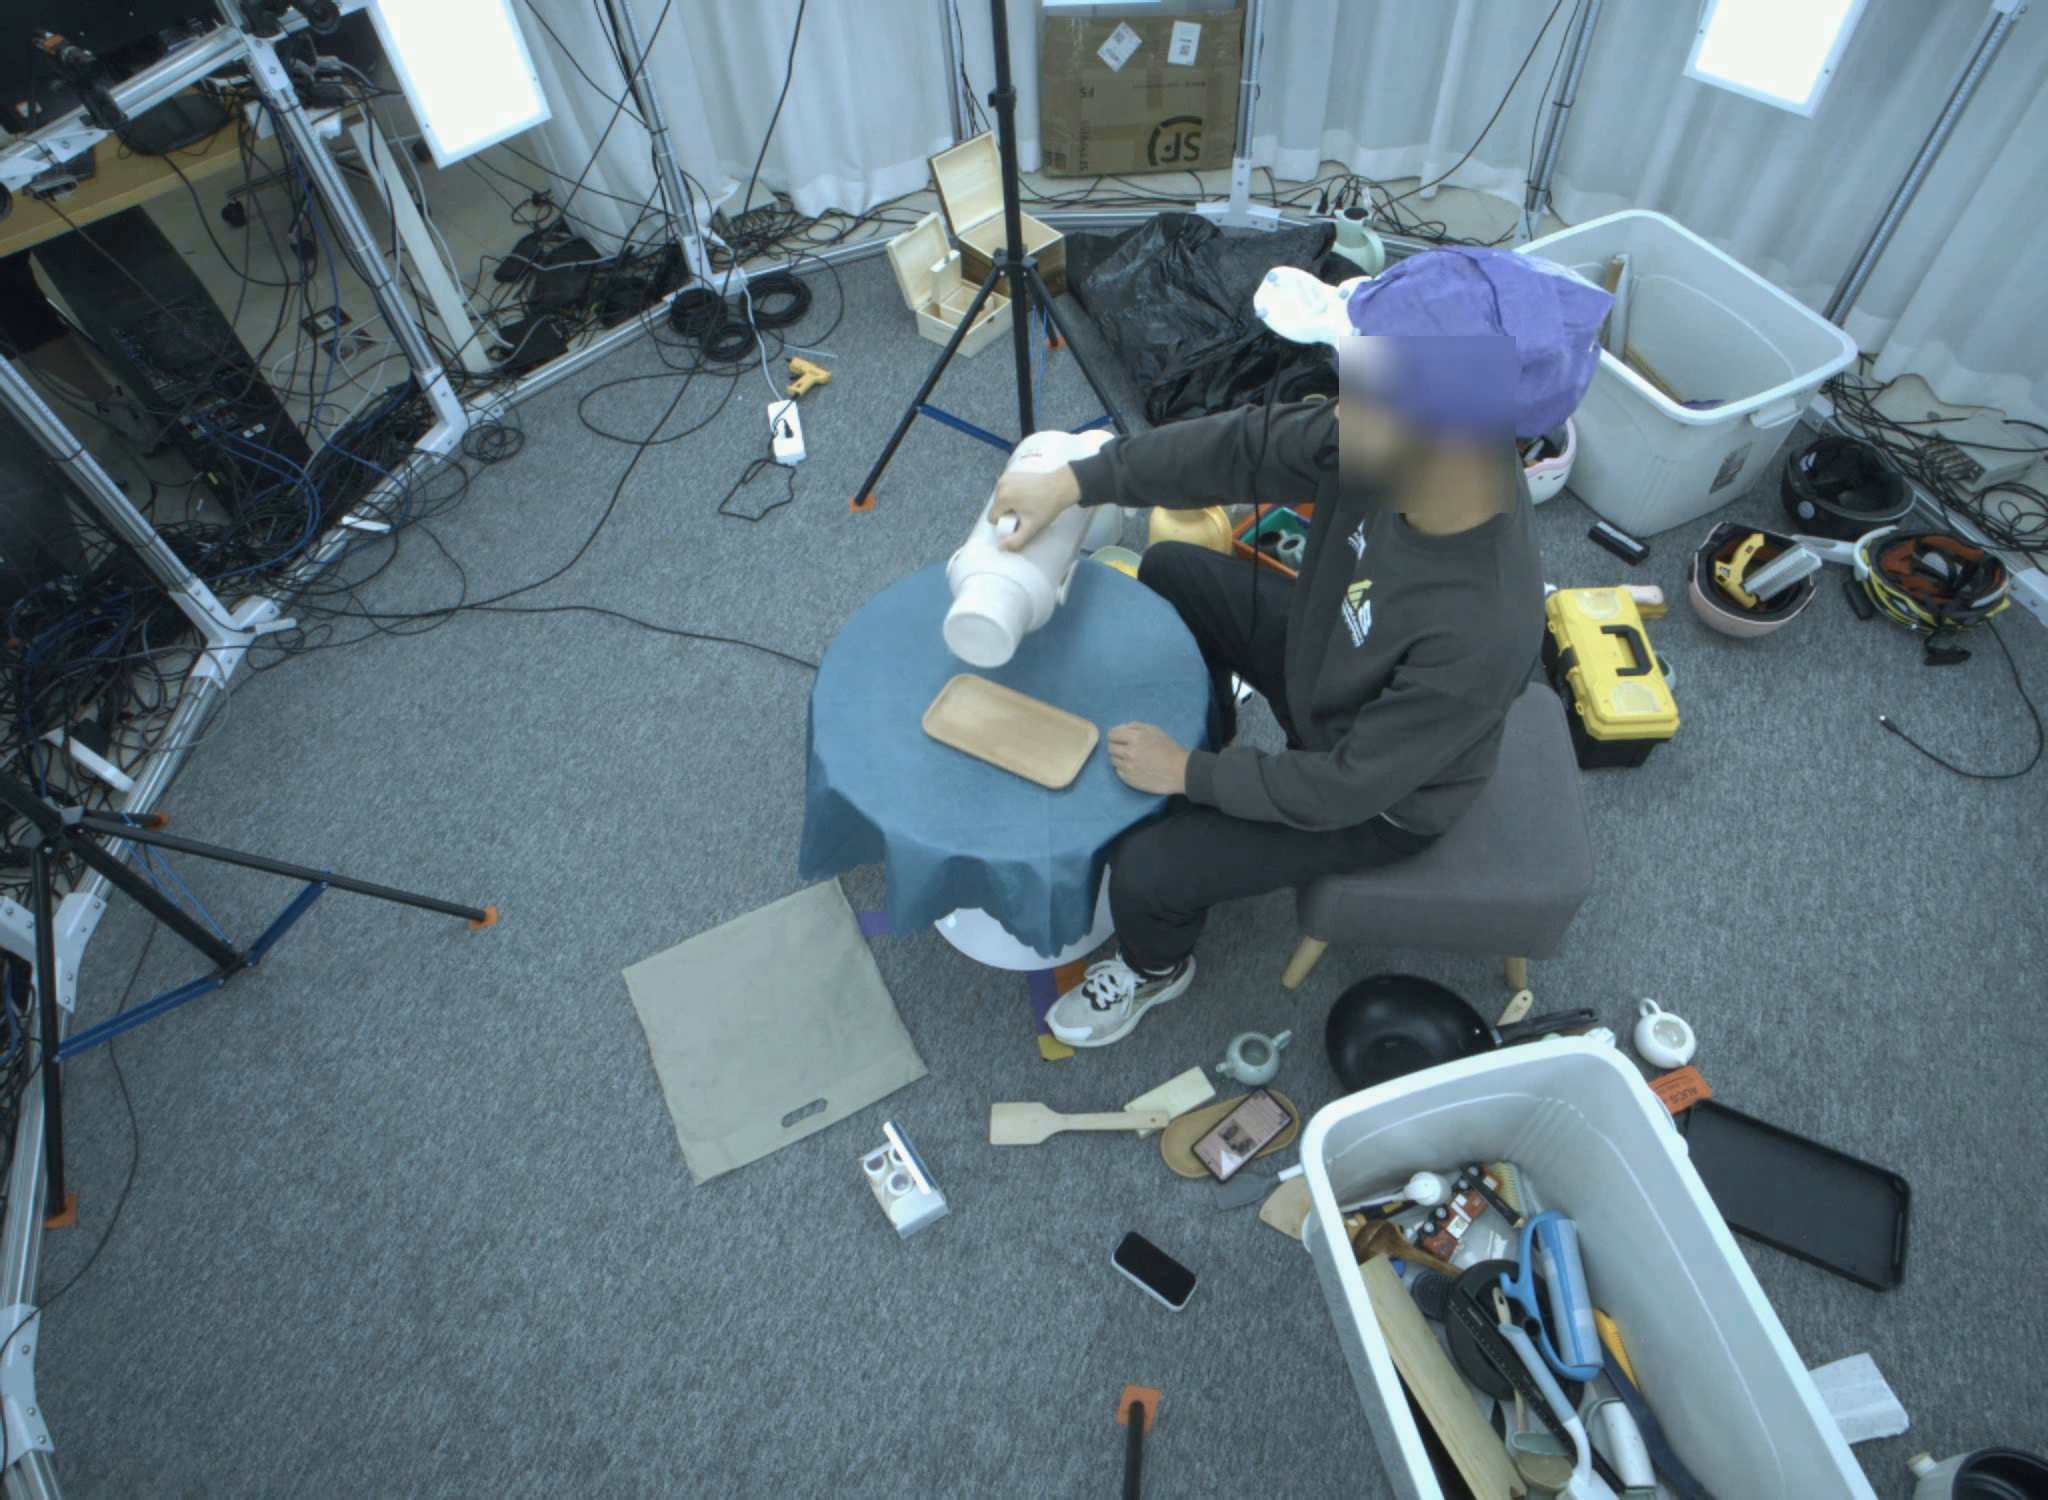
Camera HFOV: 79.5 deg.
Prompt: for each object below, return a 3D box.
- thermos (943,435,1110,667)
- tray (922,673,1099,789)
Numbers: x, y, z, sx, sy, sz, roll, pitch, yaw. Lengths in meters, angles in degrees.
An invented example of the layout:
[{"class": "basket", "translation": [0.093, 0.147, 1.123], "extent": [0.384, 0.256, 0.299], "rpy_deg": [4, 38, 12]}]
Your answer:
[{"class": "thermos", "translation": [0.000, -0.301, 1.782], "extent": [0.174, 0.209, 0.405], "rpy_deg": [15, 50, 10]}, {"class": "tray", "translation": [-0.020, -0.029, 1.797], "extent": [0.247, 0.023, 0.131], "rpy_deg": [24, 61, 17]}]
